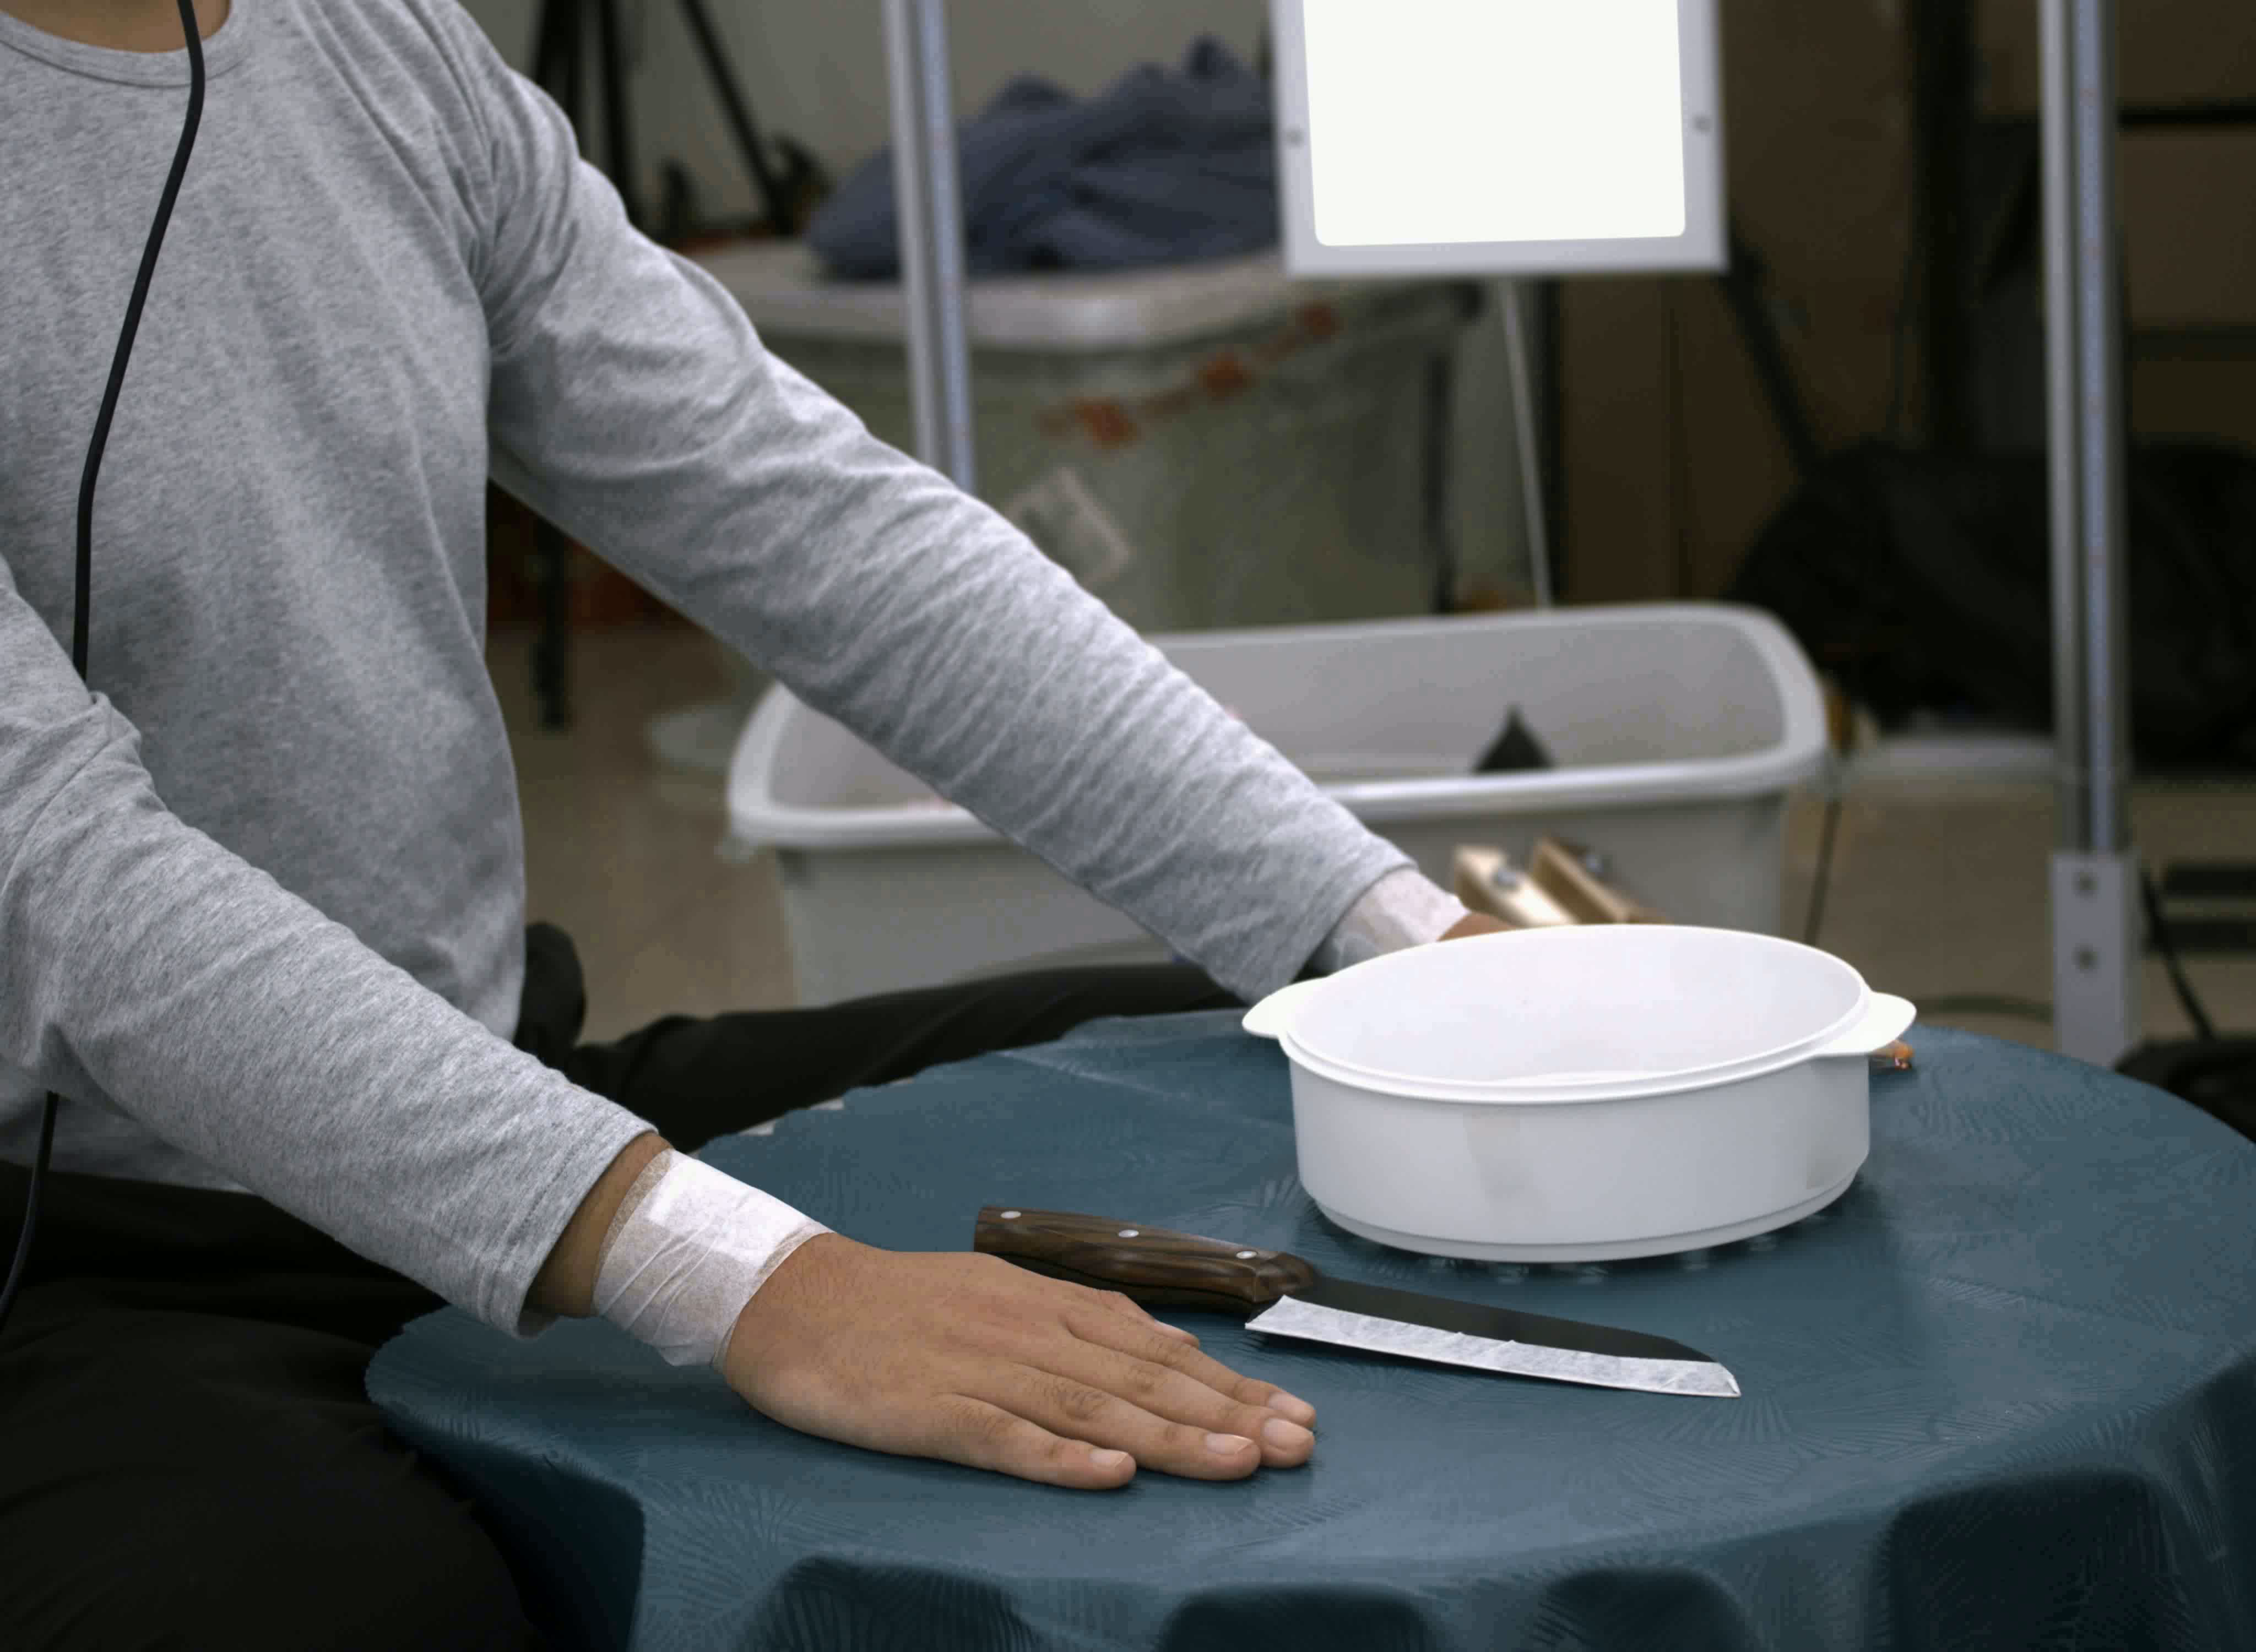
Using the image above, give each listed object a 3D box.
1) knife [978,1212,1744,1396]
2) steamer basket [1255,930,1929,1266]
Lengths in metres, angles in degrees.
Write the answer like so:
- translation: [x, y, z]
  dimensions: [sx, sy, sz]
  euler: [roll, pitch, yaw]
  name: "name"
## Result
- translation: [0.069, 0.153, 1.739]
  dimensions: [0.295, 0.020, 0.049]
  euler: [8, 24, 36]
  name: "knife"
- translation: [0.157, 0.091, 1.851]
  dimensions: [0.234, 0.069, 0.198]
  euler: [0, 14, 24]
  name: "steamer basket"
